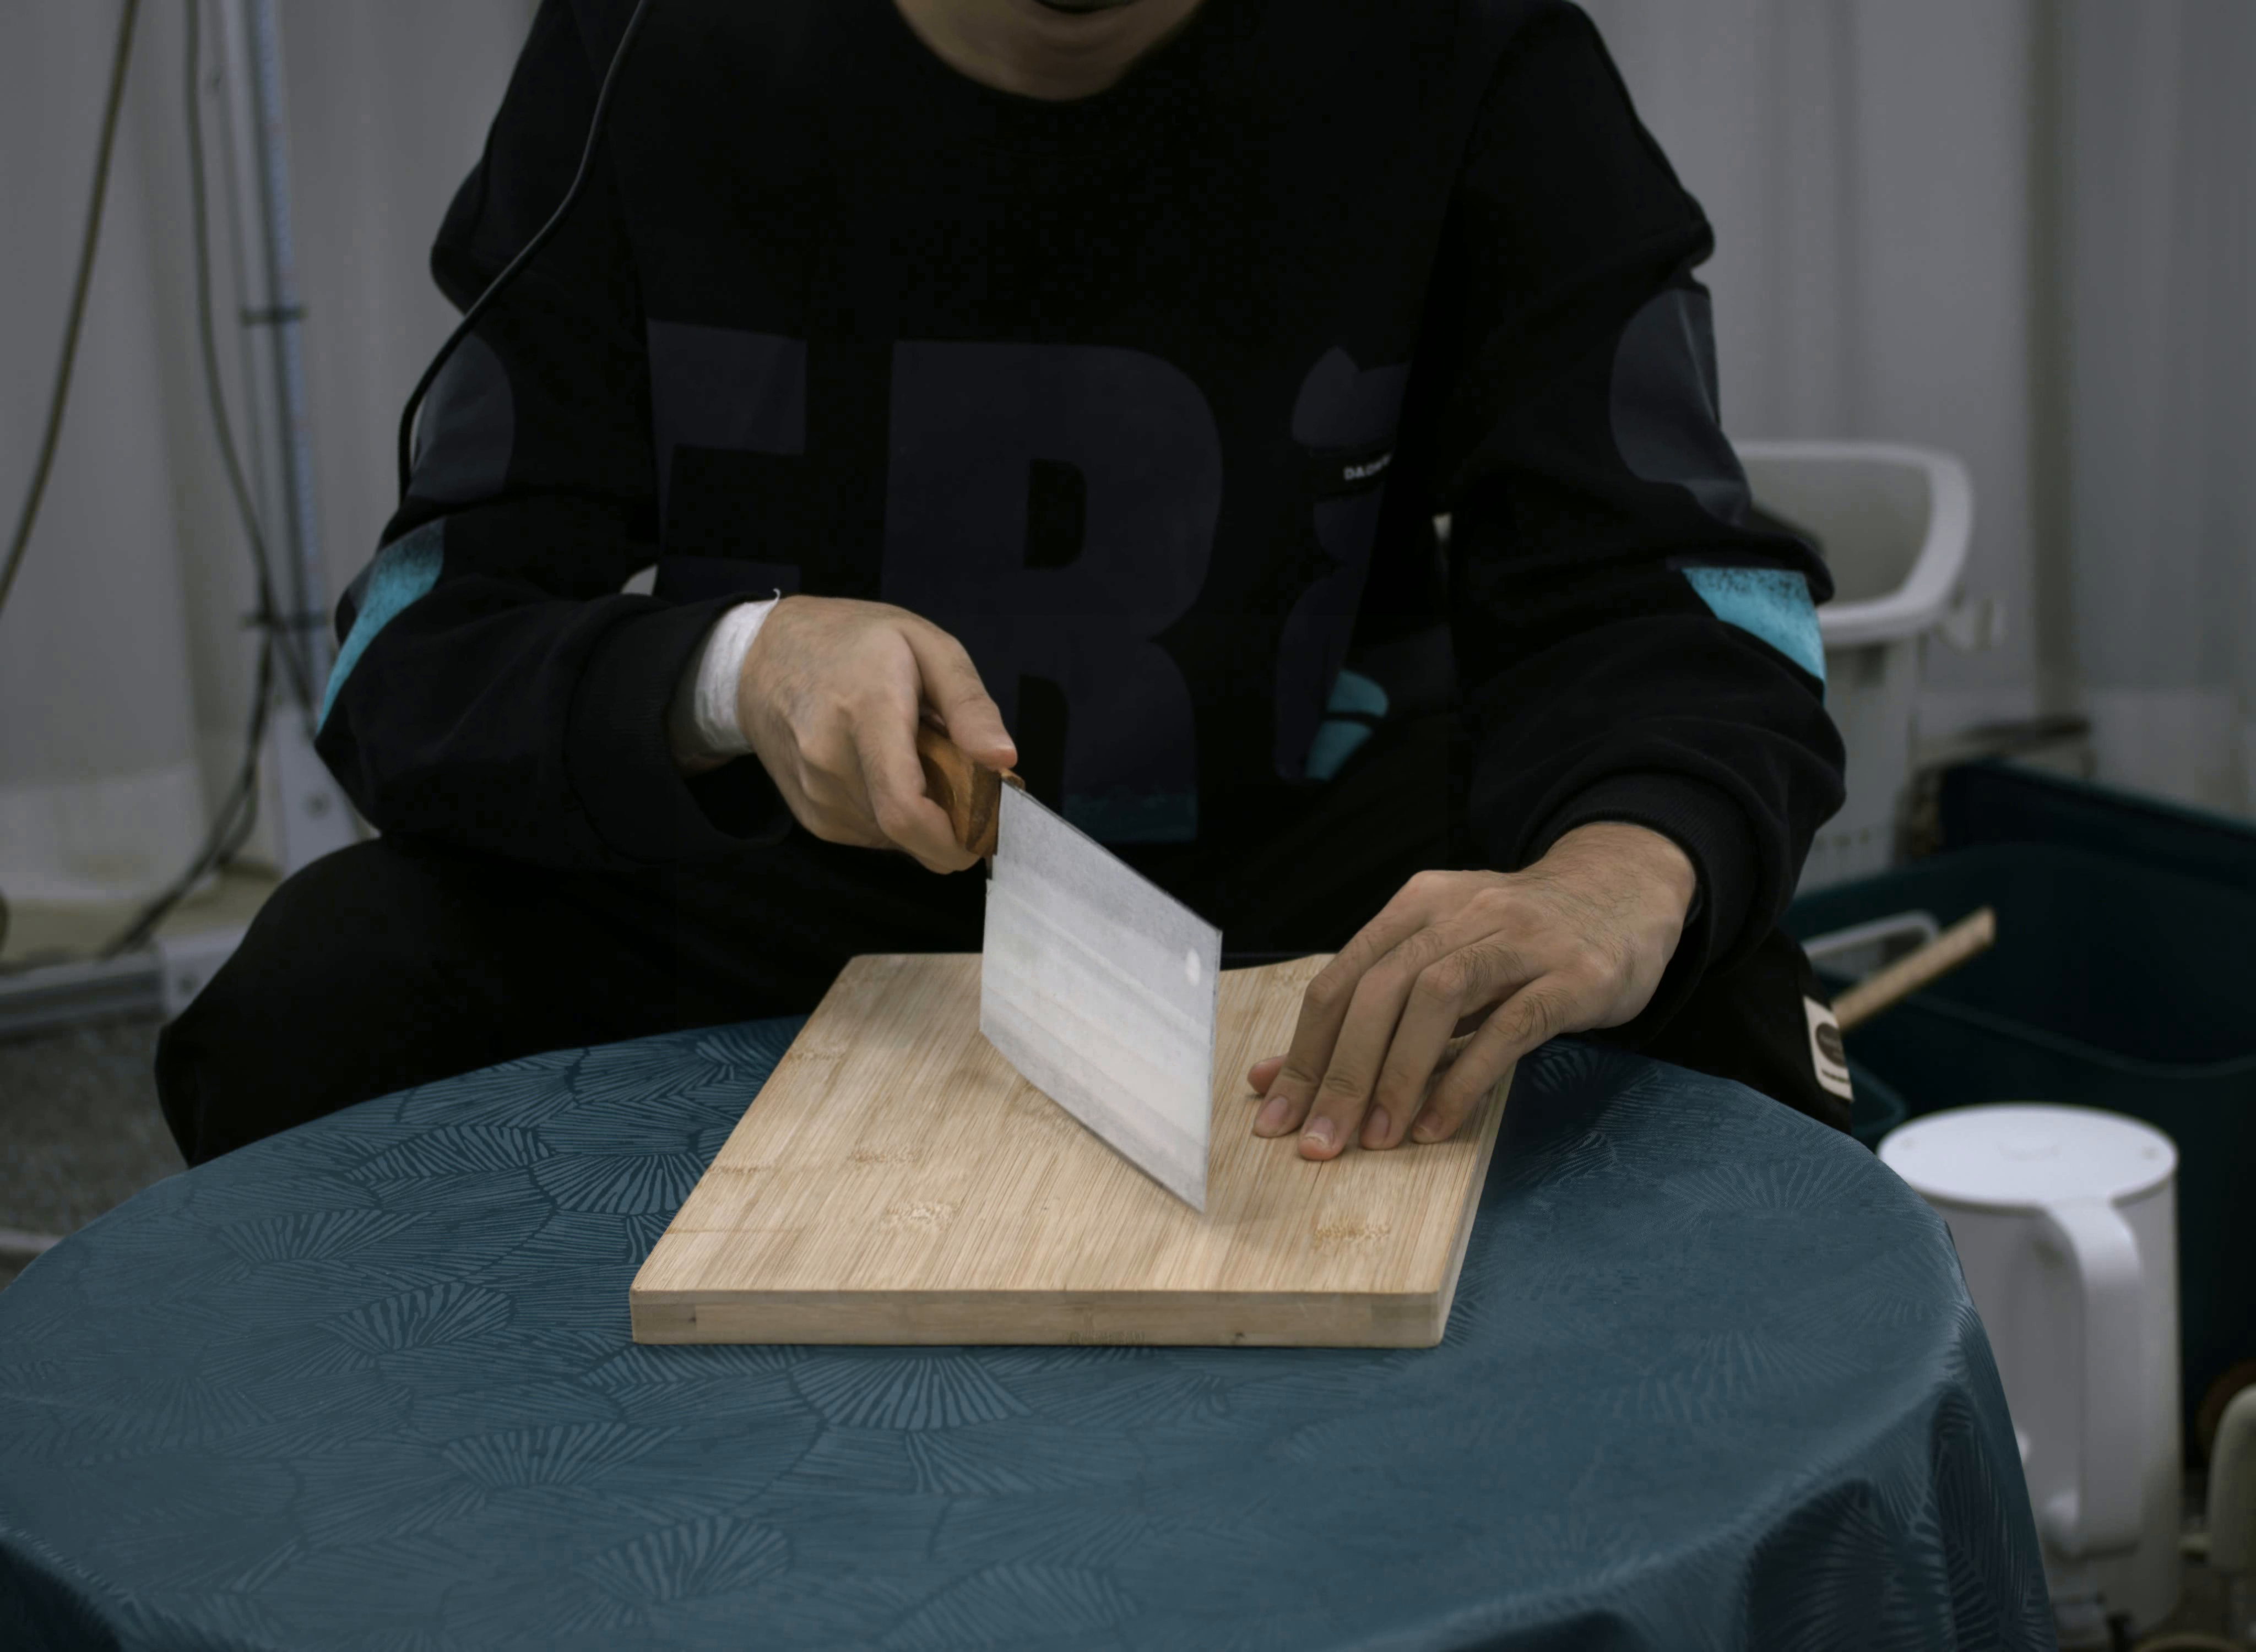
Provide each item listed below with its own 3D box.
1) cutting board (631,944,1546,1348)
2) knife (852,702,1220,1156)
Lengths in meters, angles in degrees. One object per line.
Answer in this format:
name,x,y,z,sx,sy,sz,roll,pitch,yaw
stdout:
cutting board,-0.001,0.097,1.749,0.250,0.023,0.350,-1,15,8
knife,-0.031,0.032,1.747,0.021,0.092,0.308,-3,16,-22
